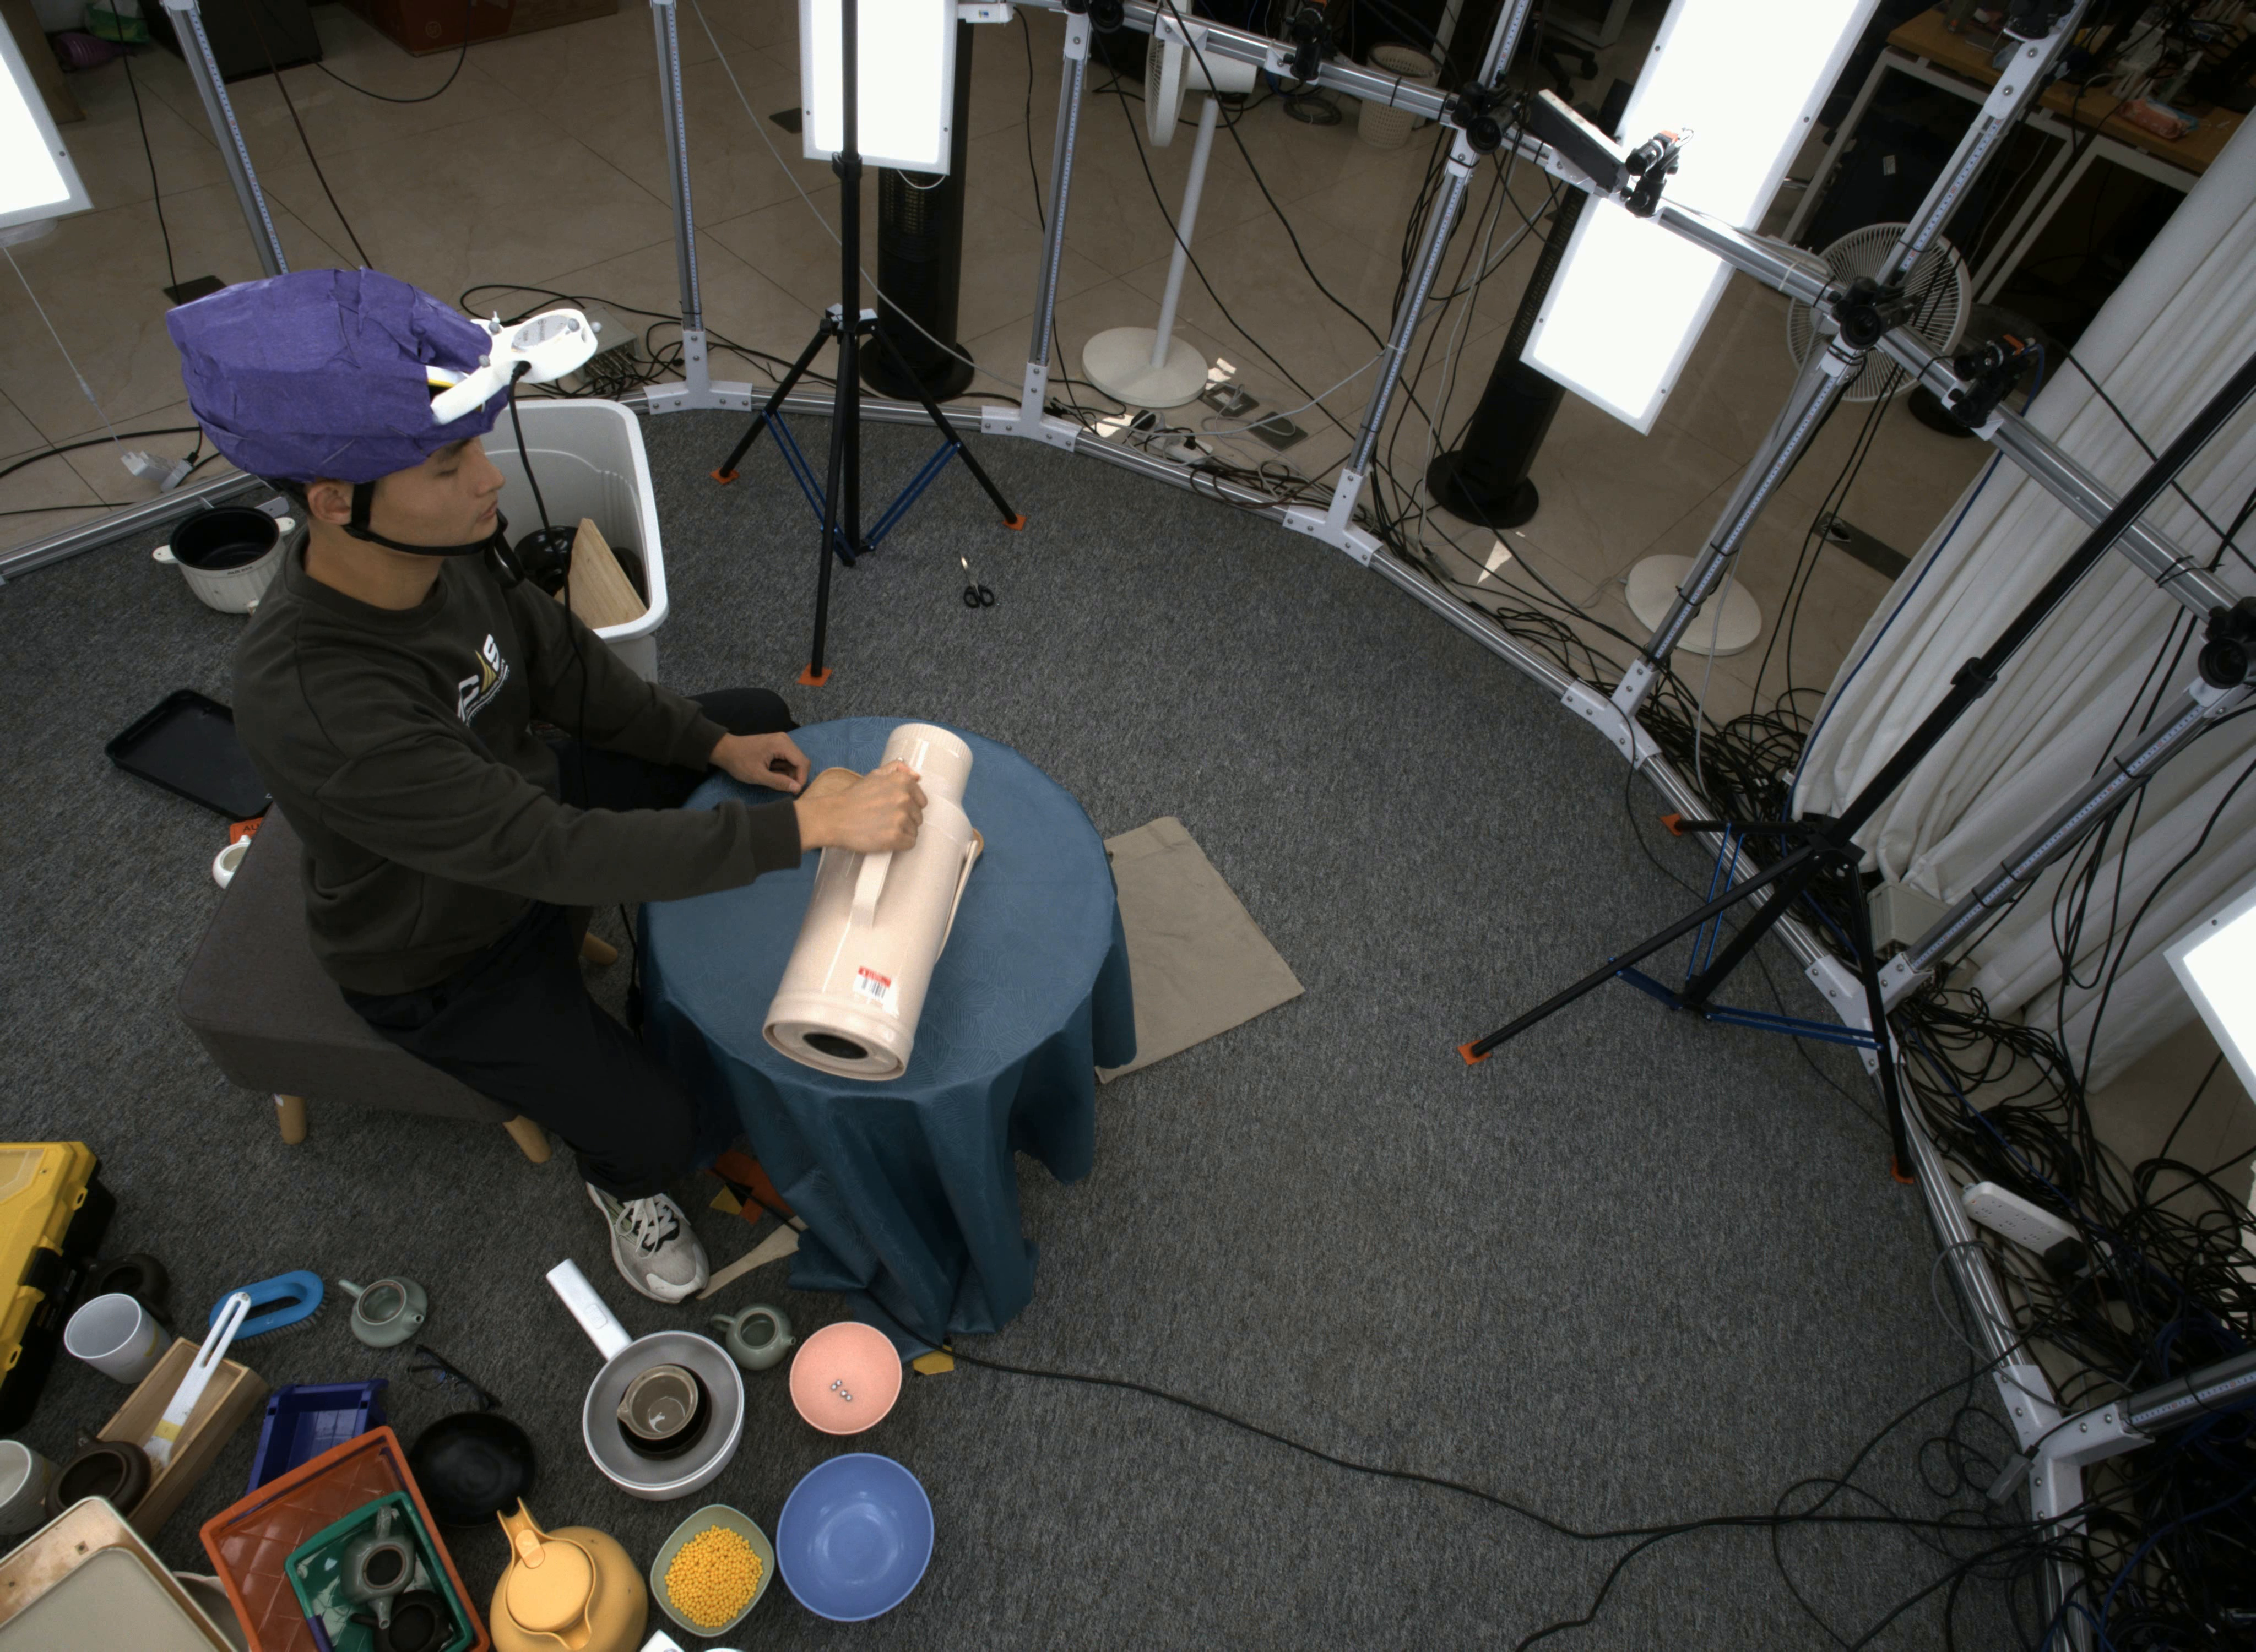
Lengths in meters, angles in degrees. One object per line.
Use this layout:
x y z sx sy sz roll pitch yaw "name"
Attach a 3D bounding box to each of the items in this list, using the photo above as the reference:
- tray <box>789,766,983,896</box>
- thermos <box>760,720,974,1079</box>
-0.323 0.008 1.743 0.247 0.023 0.130 25 50 7 "tray"
-0.281 0.063 1.473 0.174 0.211 0.402 14 59 0 "thermos"
